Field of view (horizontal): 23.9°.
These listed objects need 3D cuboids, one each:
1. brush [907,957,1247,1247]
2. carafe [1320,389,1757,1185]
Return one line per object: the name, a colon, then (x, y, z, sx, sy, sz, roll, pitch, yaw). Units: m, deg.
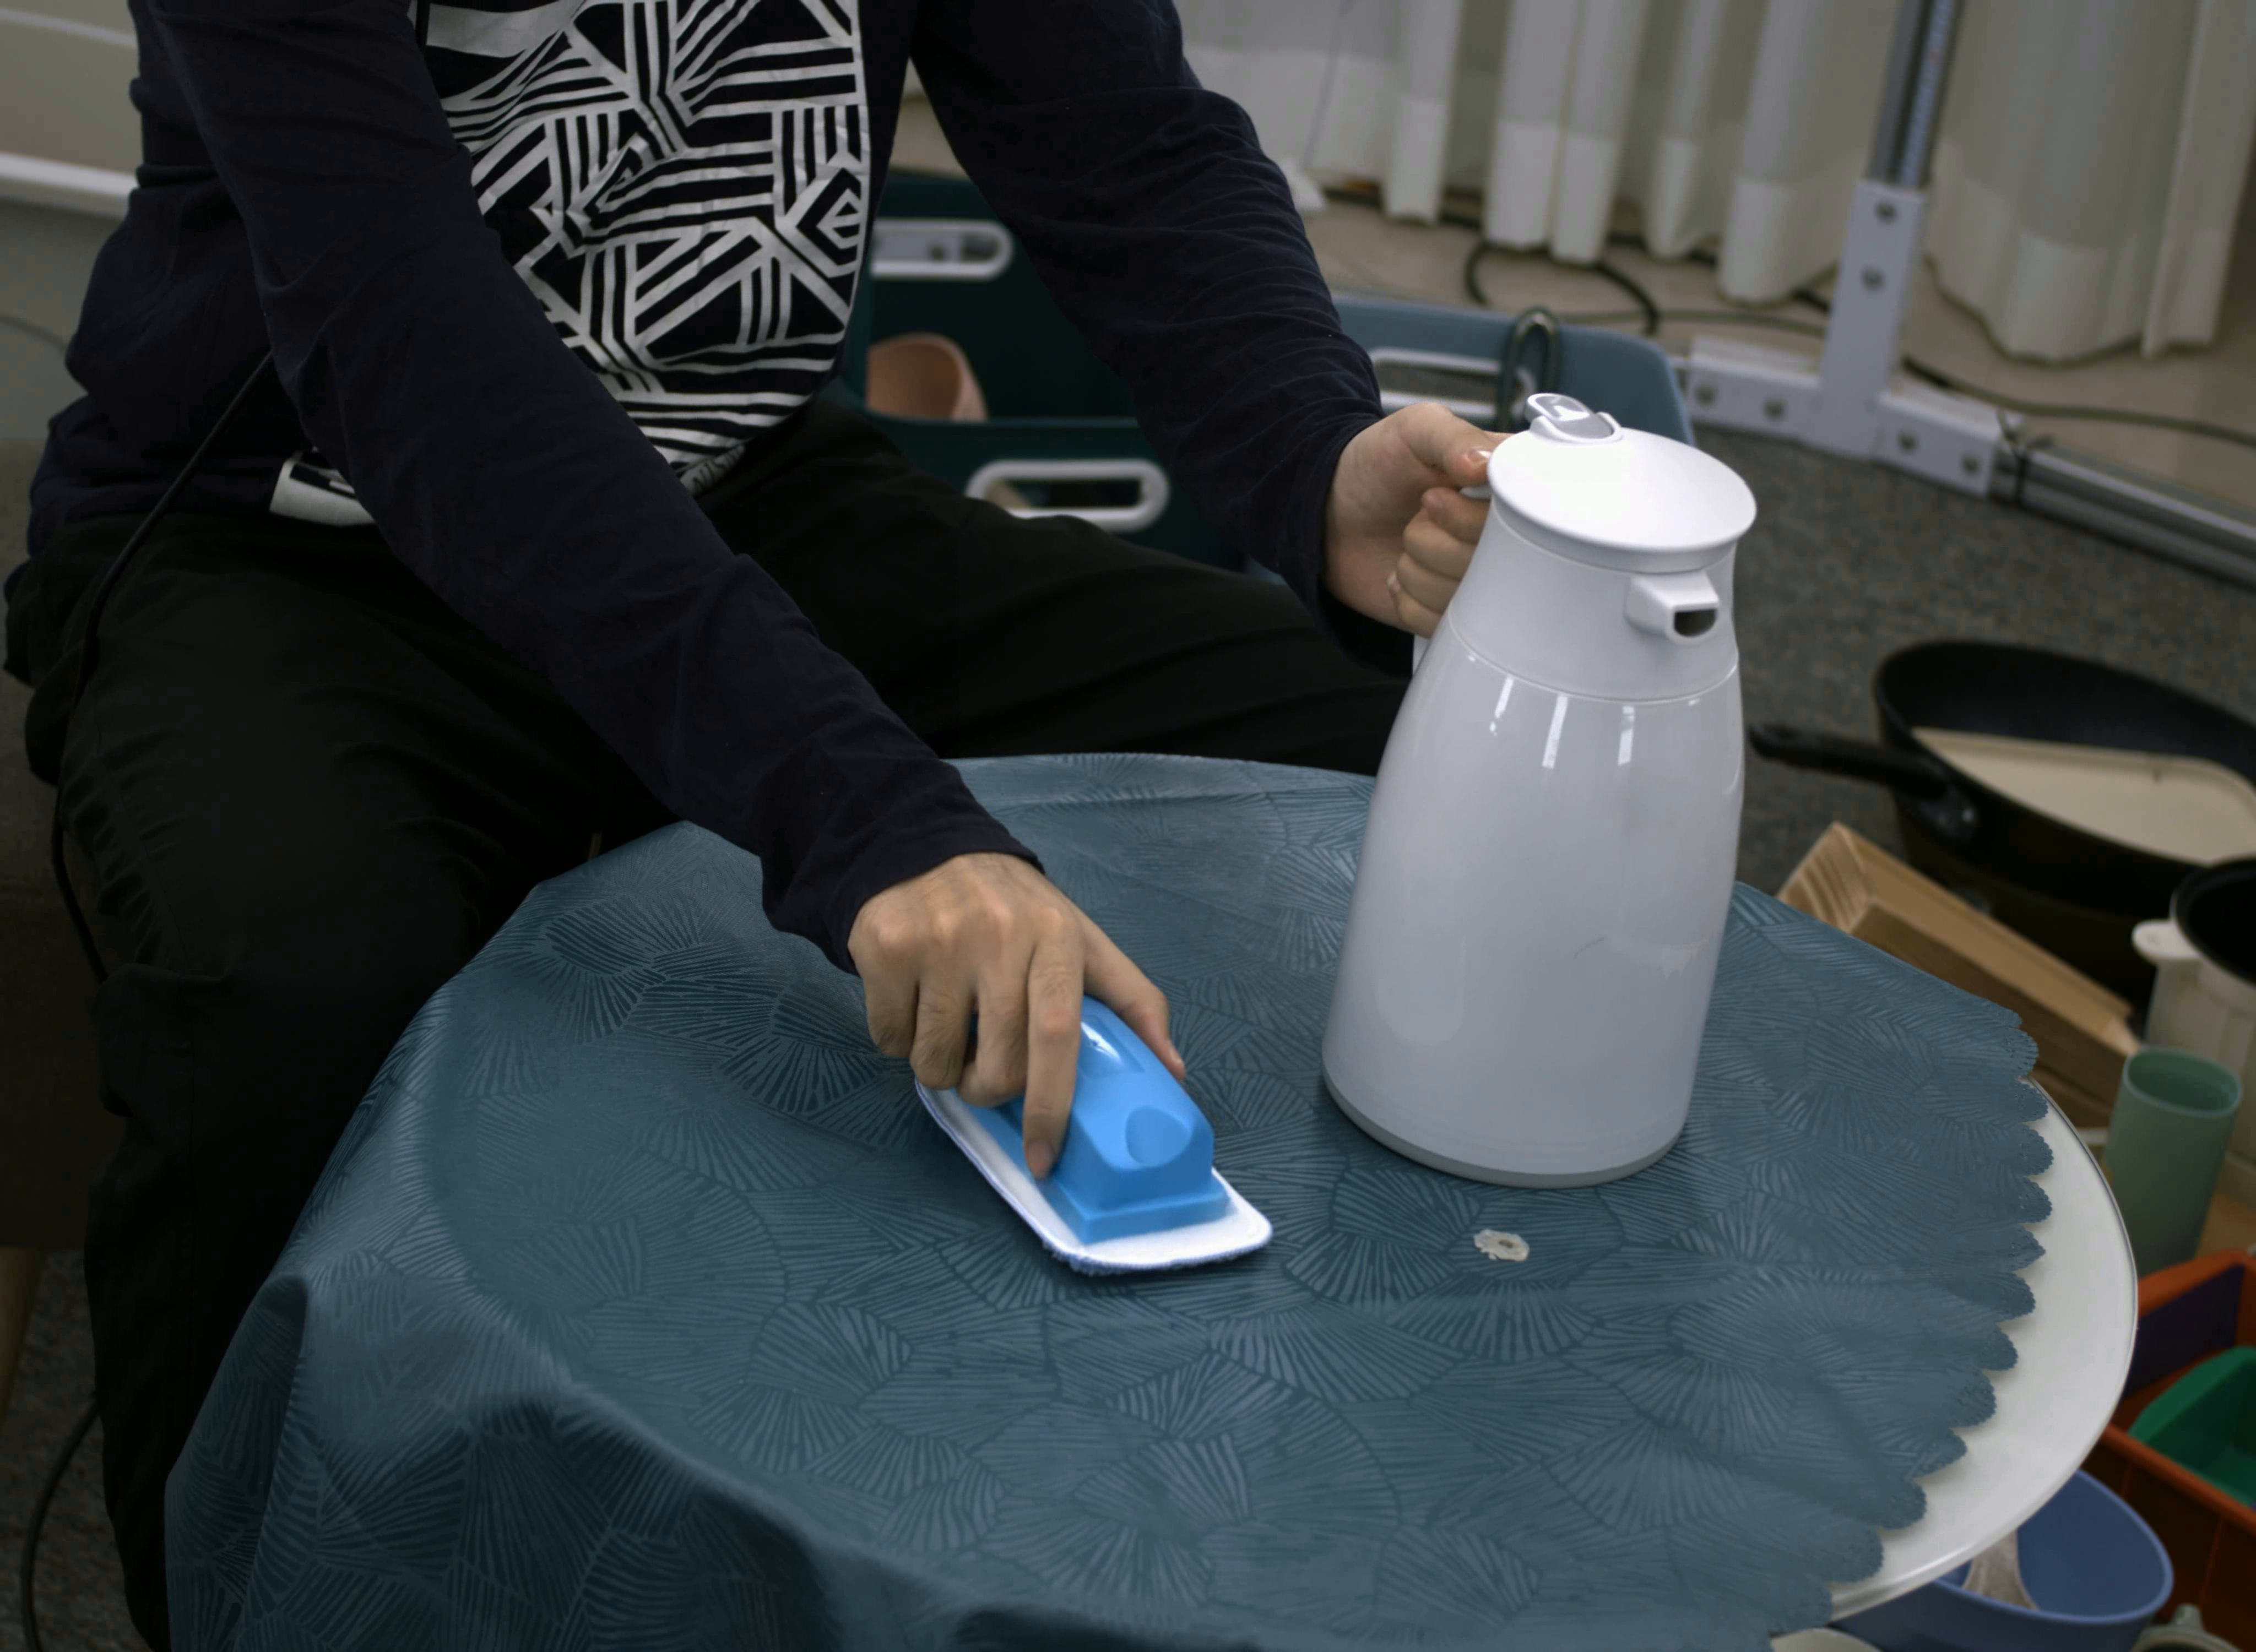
brush: (-0.015, 0.089, 1.805, 0.083, 0.056, 0.145, -2, 29, -25)
carafe: (0.141, -0.024, 1.846, 0.131, 0.248, 0.169, -6, 31, -24)
